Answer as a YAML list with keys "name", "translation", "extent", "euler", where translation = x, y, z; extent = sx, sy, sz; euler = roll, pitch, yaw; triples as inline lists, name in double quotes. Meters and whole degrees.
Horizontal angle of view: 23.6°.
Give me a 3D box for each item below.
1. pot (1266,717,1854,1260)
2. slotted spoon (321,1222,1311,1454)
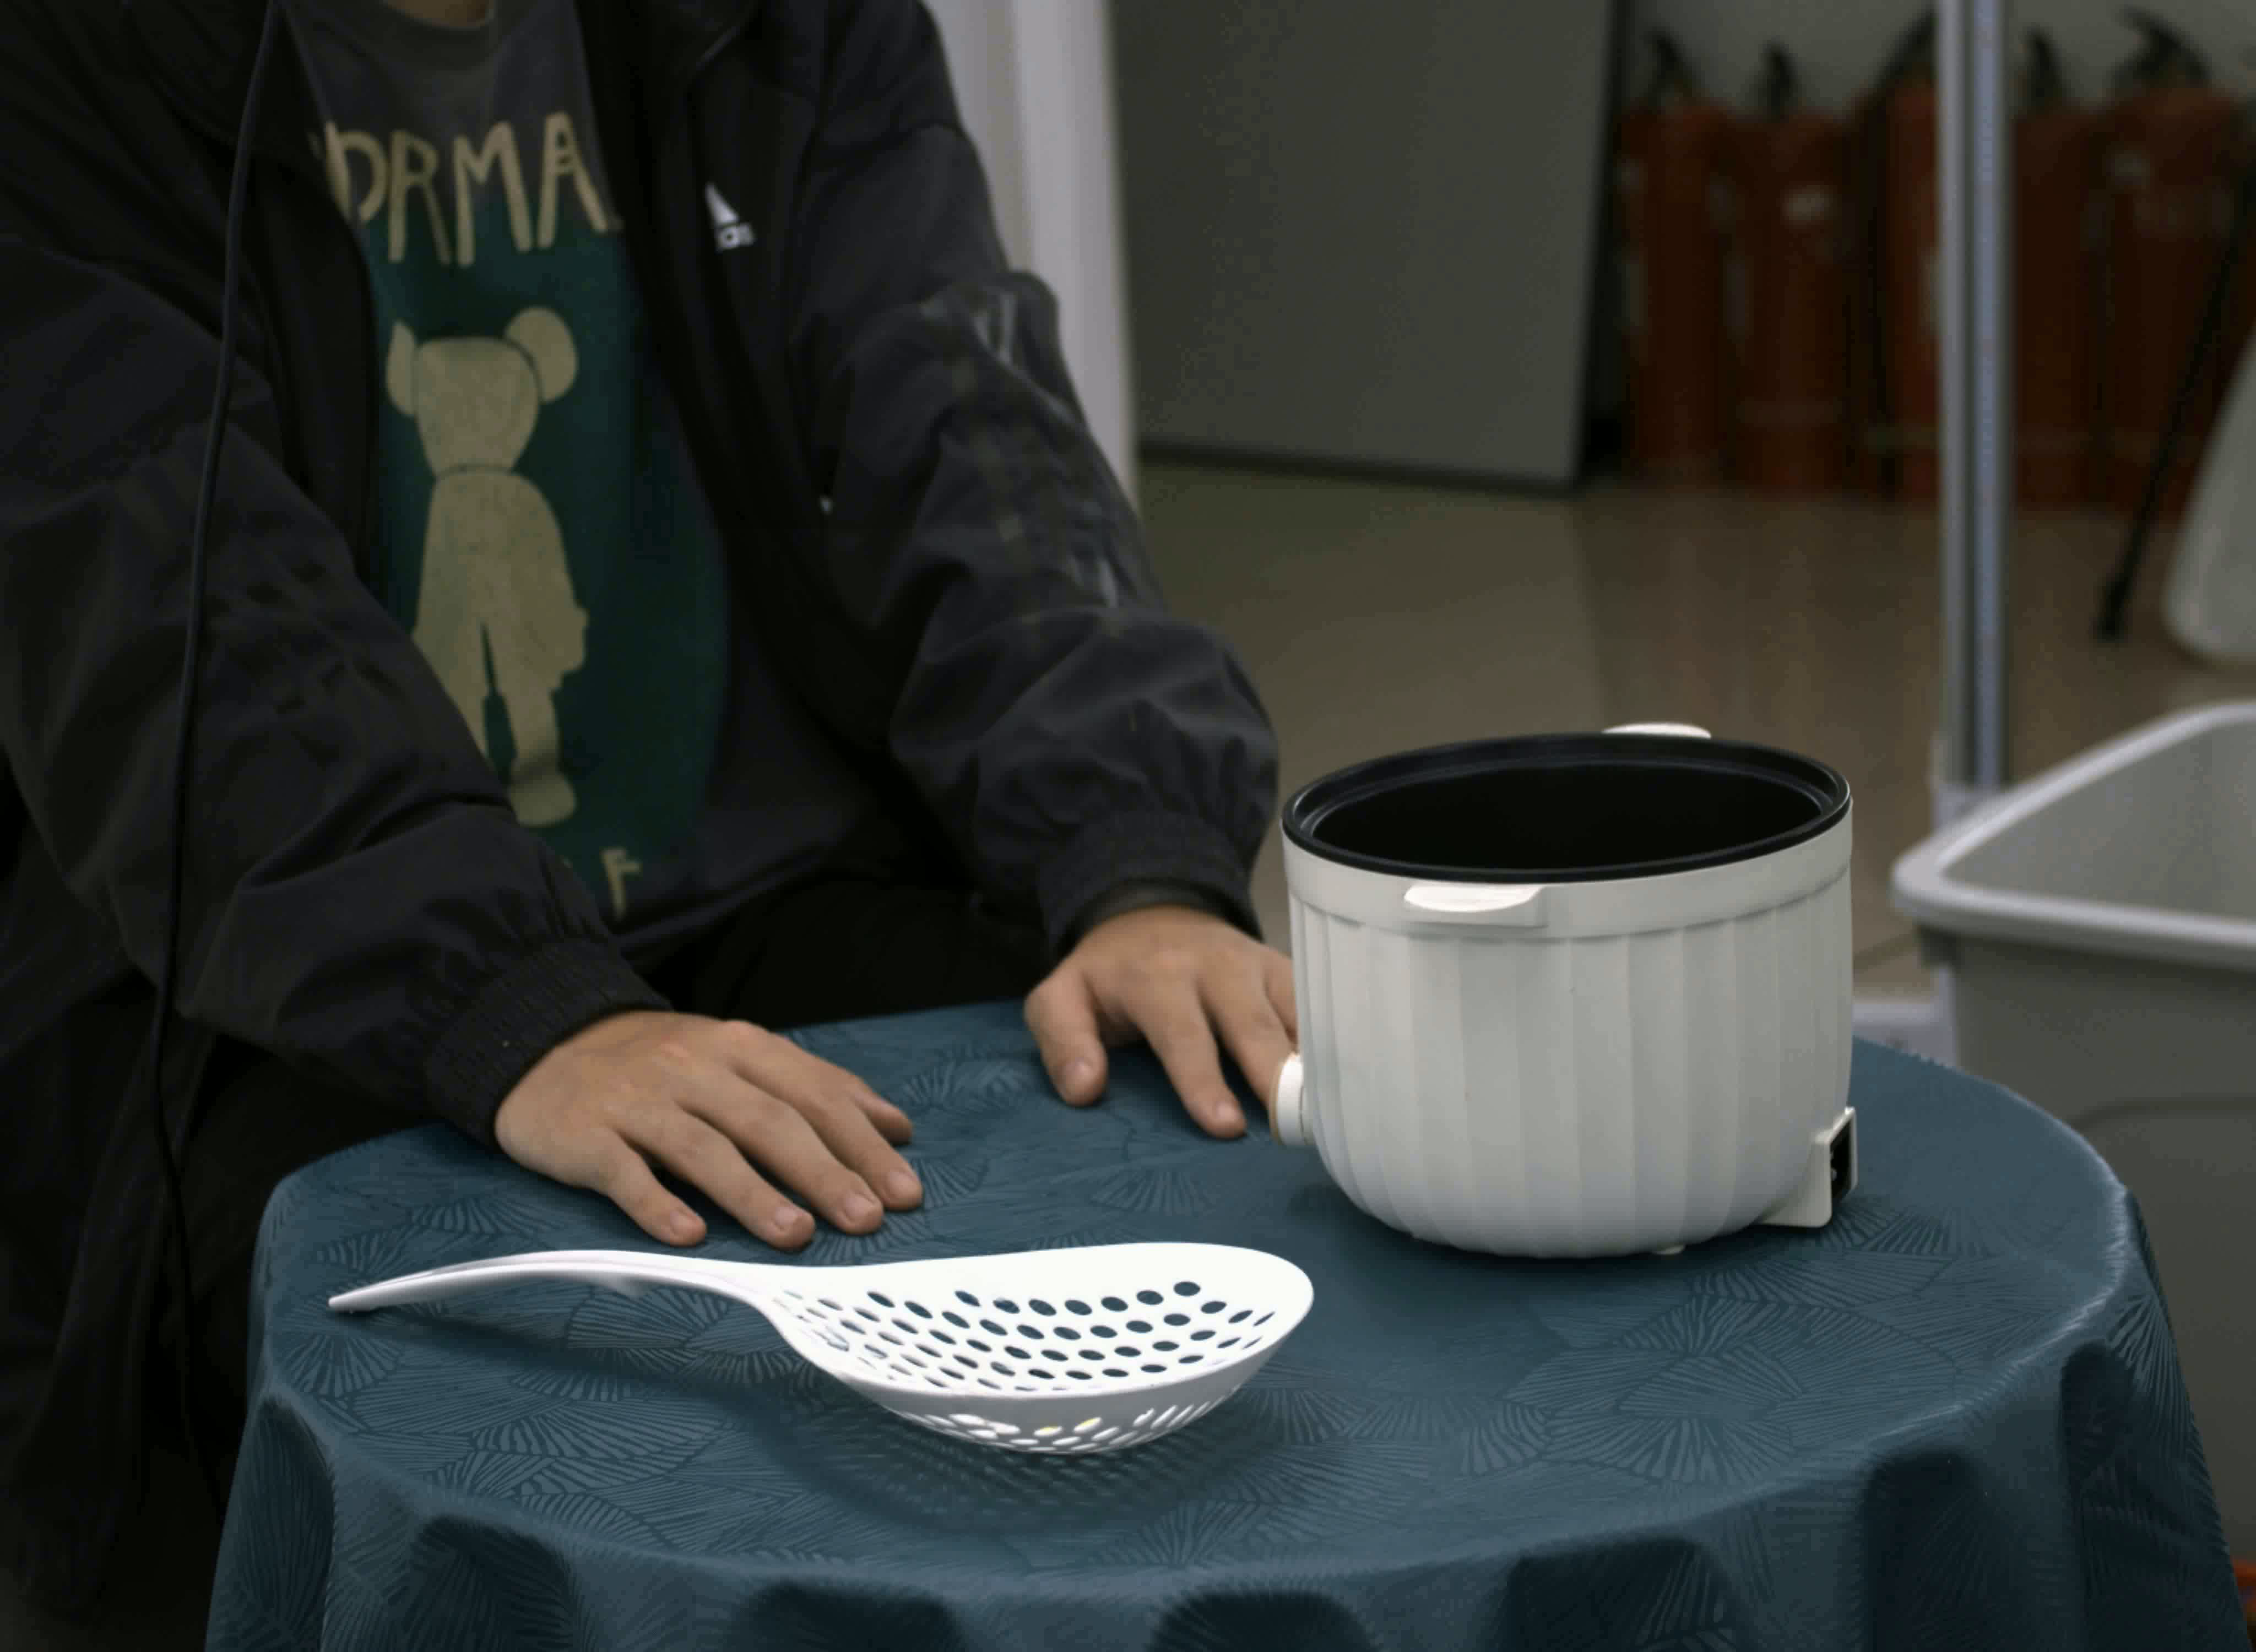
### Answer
- name: "pot"
  translation: [0.136, 0.054, 1.713]
  extent: [0.190, 0.144, 0.238]
  euler: [4, 14, 21]
- name: "slotted spoon"
  translation: [-0.104, 0.147, 1.608]
  extent: [0.350, 0.051, 0.134]
  euler: [6, 18, 34]
